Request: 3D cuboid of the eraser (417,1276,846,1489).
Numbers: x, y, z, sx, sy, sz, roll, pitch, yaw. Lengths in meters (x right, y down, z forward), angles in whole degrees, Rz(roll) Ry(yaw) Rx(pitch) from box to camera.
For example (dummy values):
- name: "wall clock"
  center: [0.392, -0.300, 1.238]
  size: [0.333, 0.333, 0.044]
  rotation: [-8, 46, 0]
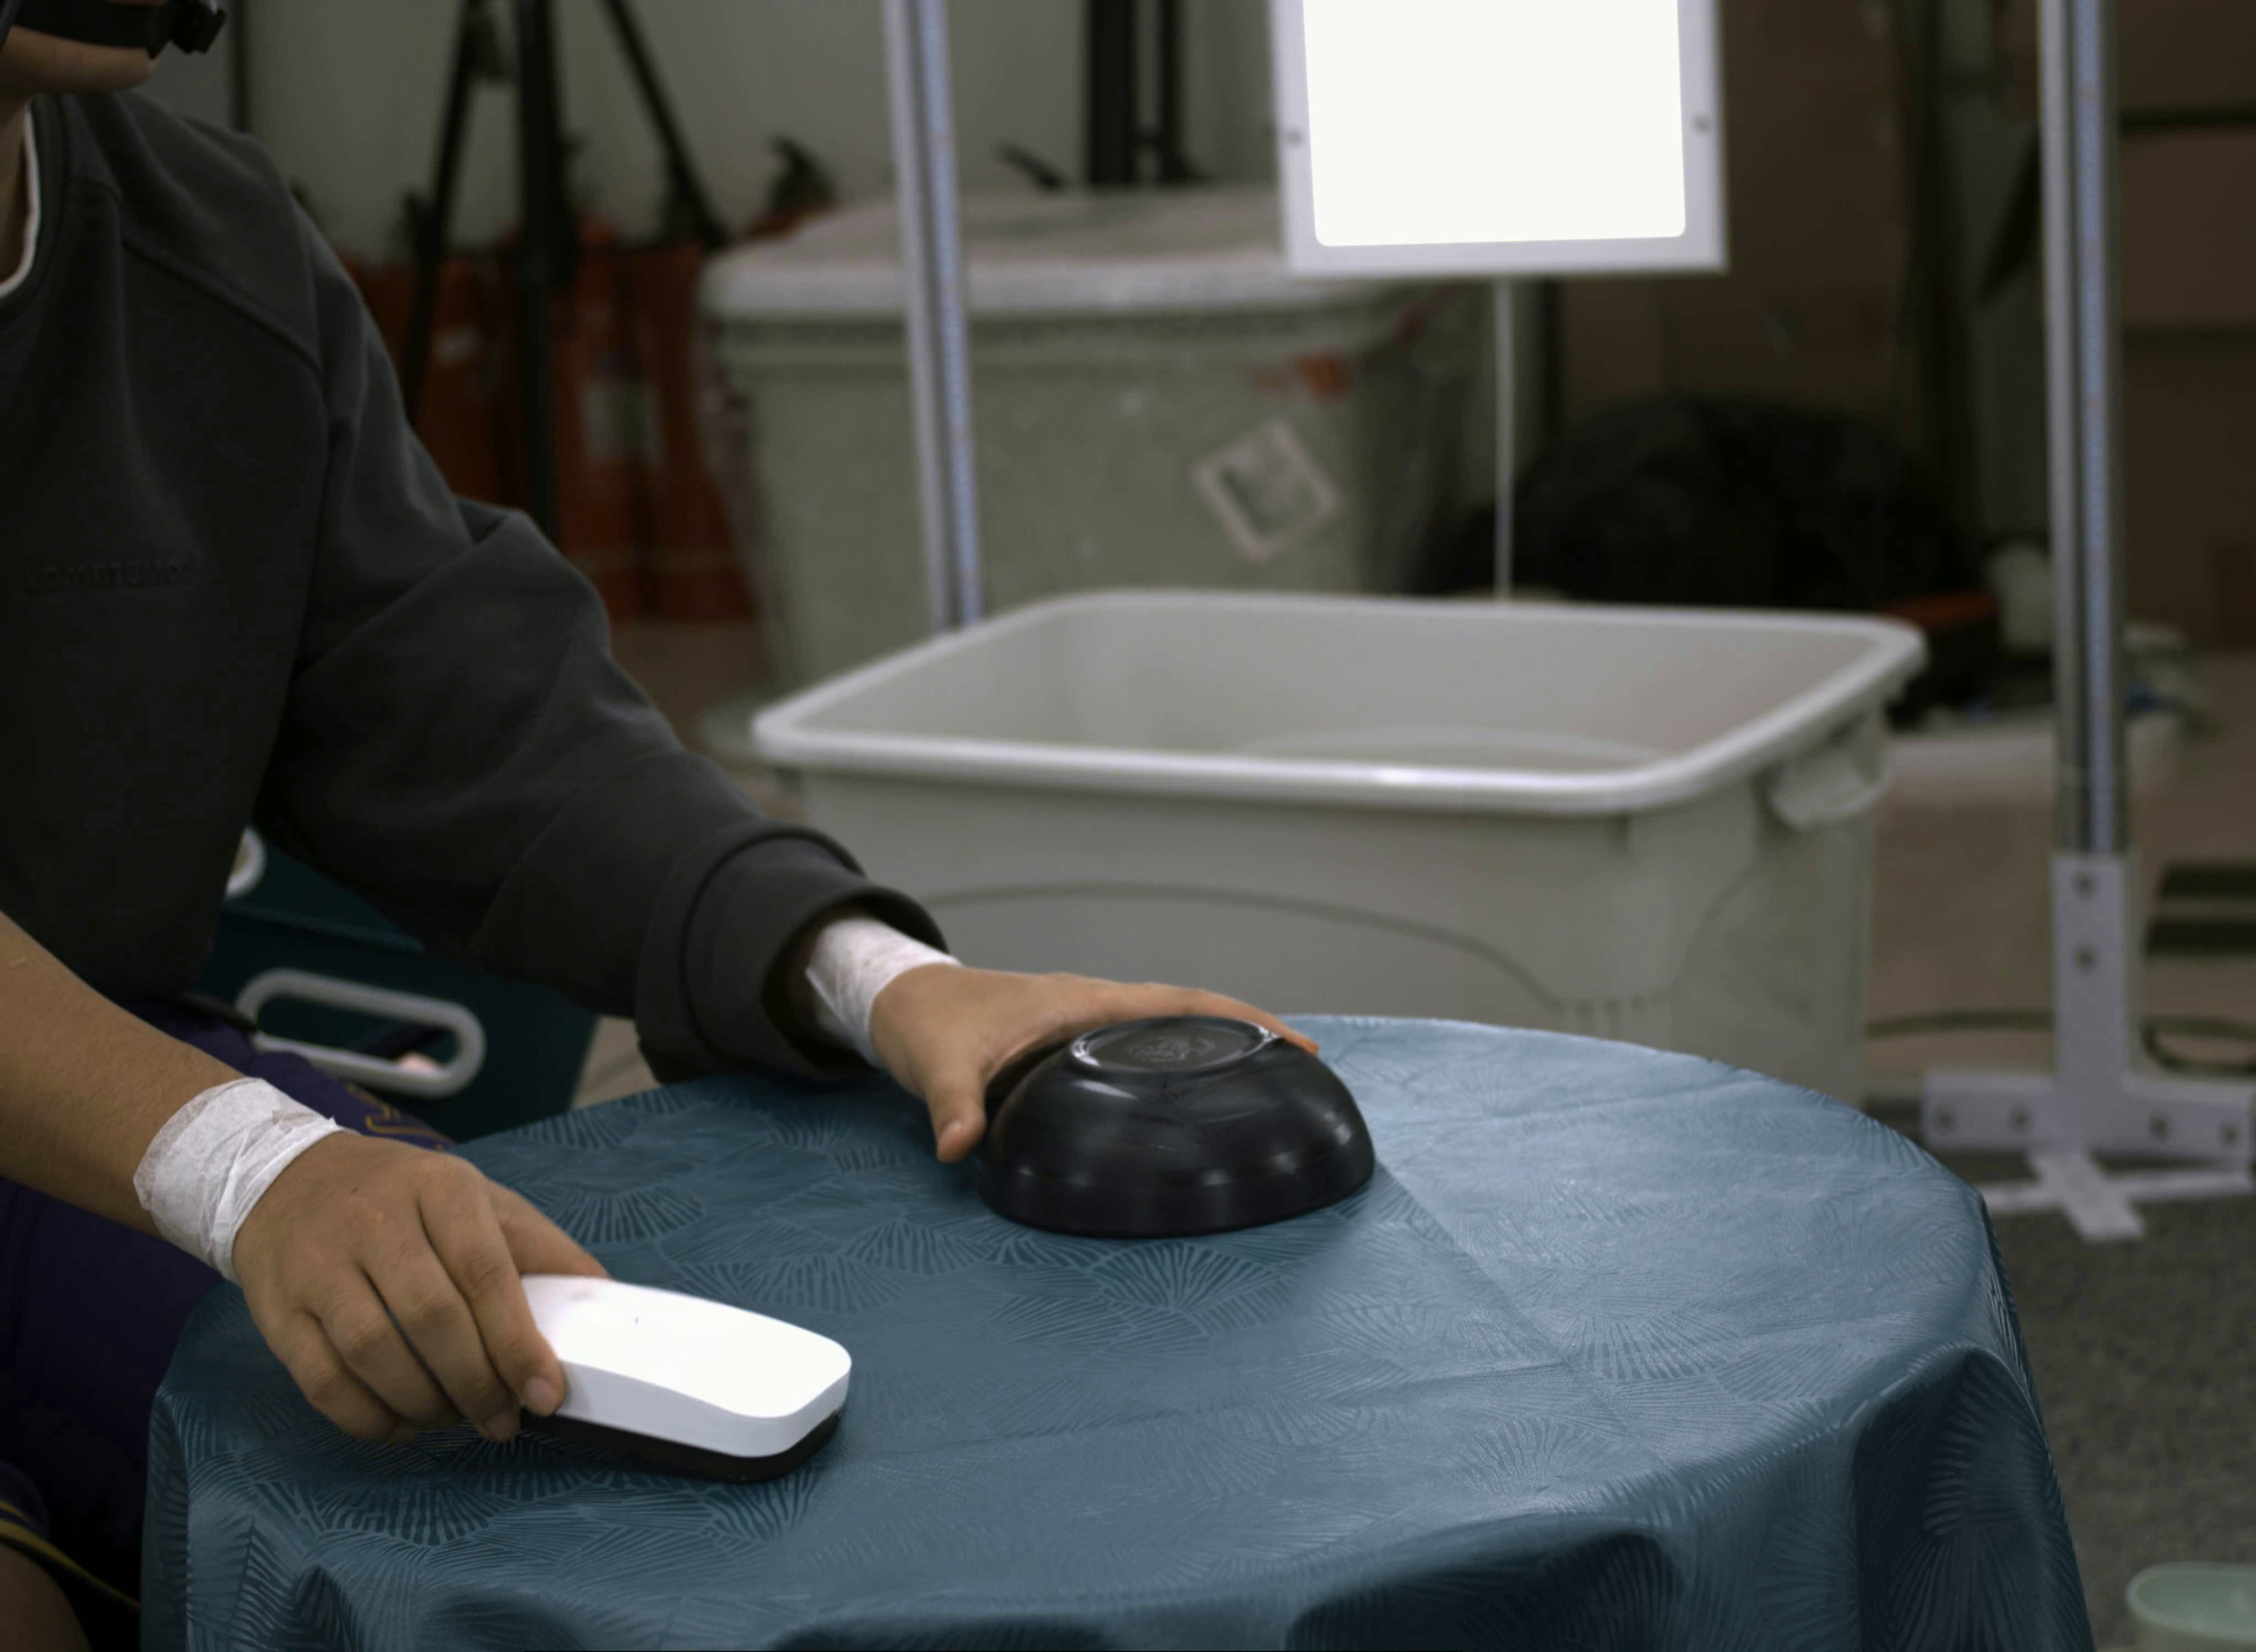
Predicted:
- name: "eraser"
  center: [-0.152, 0.168, 1.691]
  size: [0.133, 0.035, 0.062]
  rotation: [11, 20, 28]

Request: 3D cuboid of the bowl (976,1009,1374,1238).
- name: "bowl"
  center: [0.015, 0.097, 1.904]
  size: [0.139, 0.050, 0.140]
  rotation: [-5, 15, 0]
